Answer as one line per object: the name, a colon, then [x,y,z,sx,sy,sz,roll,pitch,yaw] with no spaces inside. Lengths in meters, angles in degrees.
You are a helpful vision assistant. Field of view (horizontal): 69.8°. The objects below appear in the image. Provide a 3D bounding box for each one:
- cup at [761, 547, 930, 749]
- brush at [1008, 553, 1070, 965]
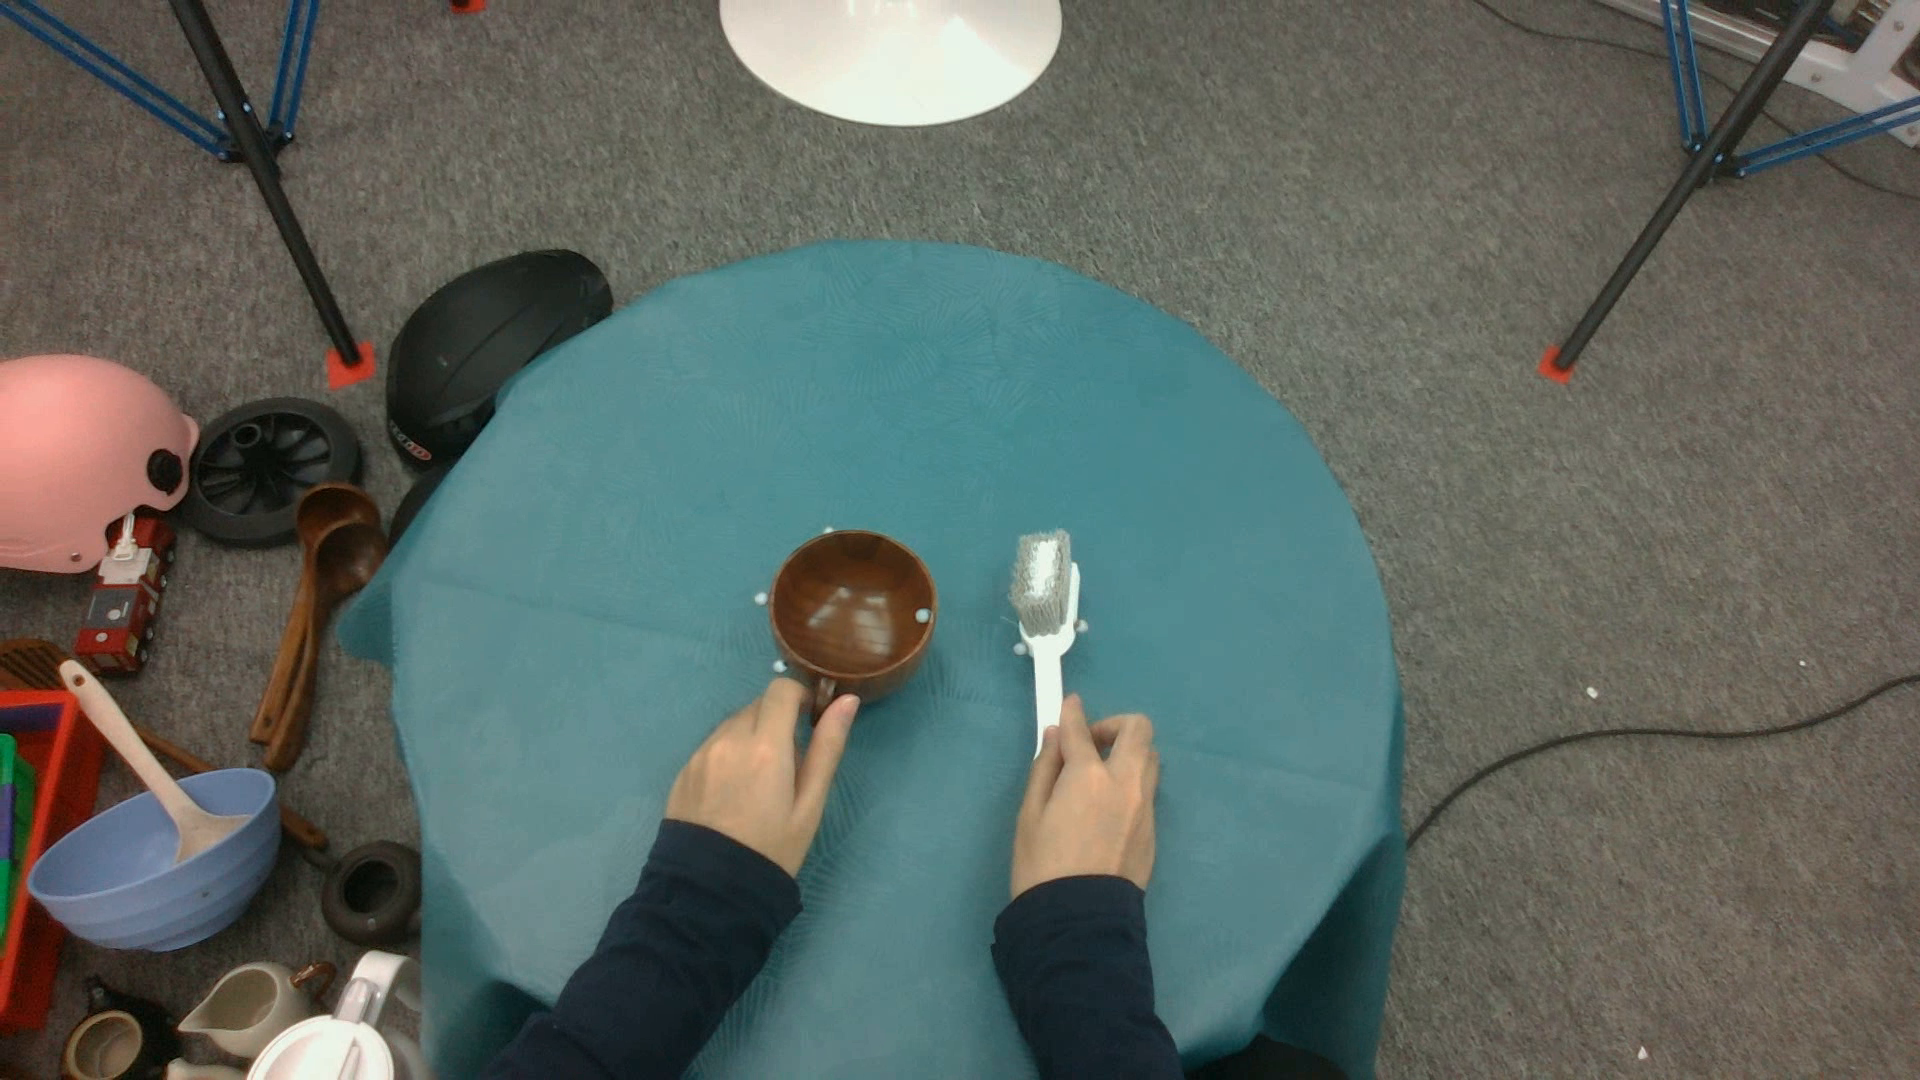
cup: [-0.070,0.071,0.794,0.096,0.067,0.120,13,54,1]
brush: [0.043,0.115,0.788,0.034,0.050,0.245,-1,57,9]
